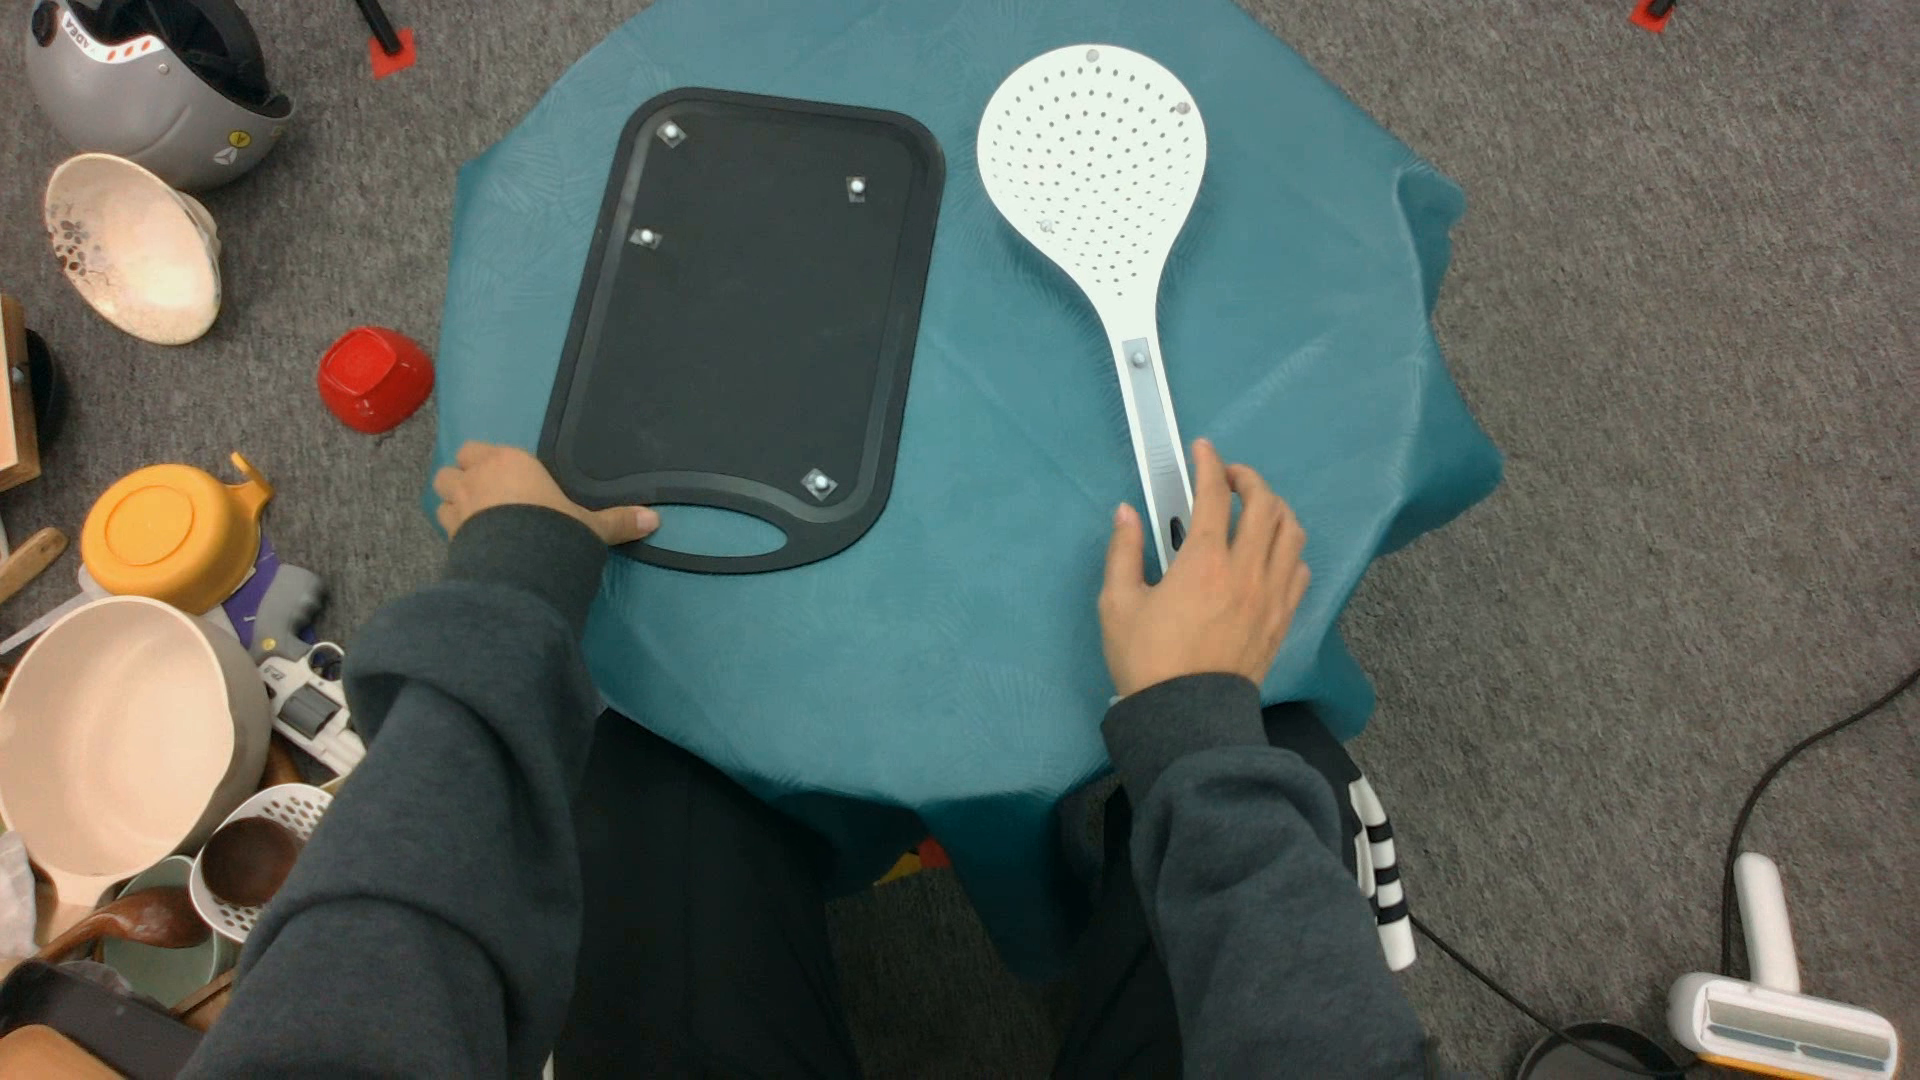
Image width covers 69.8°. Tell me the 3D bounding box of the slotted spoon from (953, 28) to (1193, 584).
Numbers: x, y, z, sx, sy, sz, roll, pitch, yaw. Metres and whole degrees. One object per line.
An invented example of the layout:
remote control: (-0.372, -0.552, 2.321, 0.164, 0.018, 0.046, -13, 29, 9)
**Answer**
slotted spoon: (0.085, -0.143, 0.809, 0.136, 0.045, 0.350, -11, 71, -1)

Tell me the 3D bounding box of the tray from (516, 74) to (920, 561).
tray: (-0.142, -0.142, 0.830, 0.211, 0.010, 0.326, 6, 70, 3)
